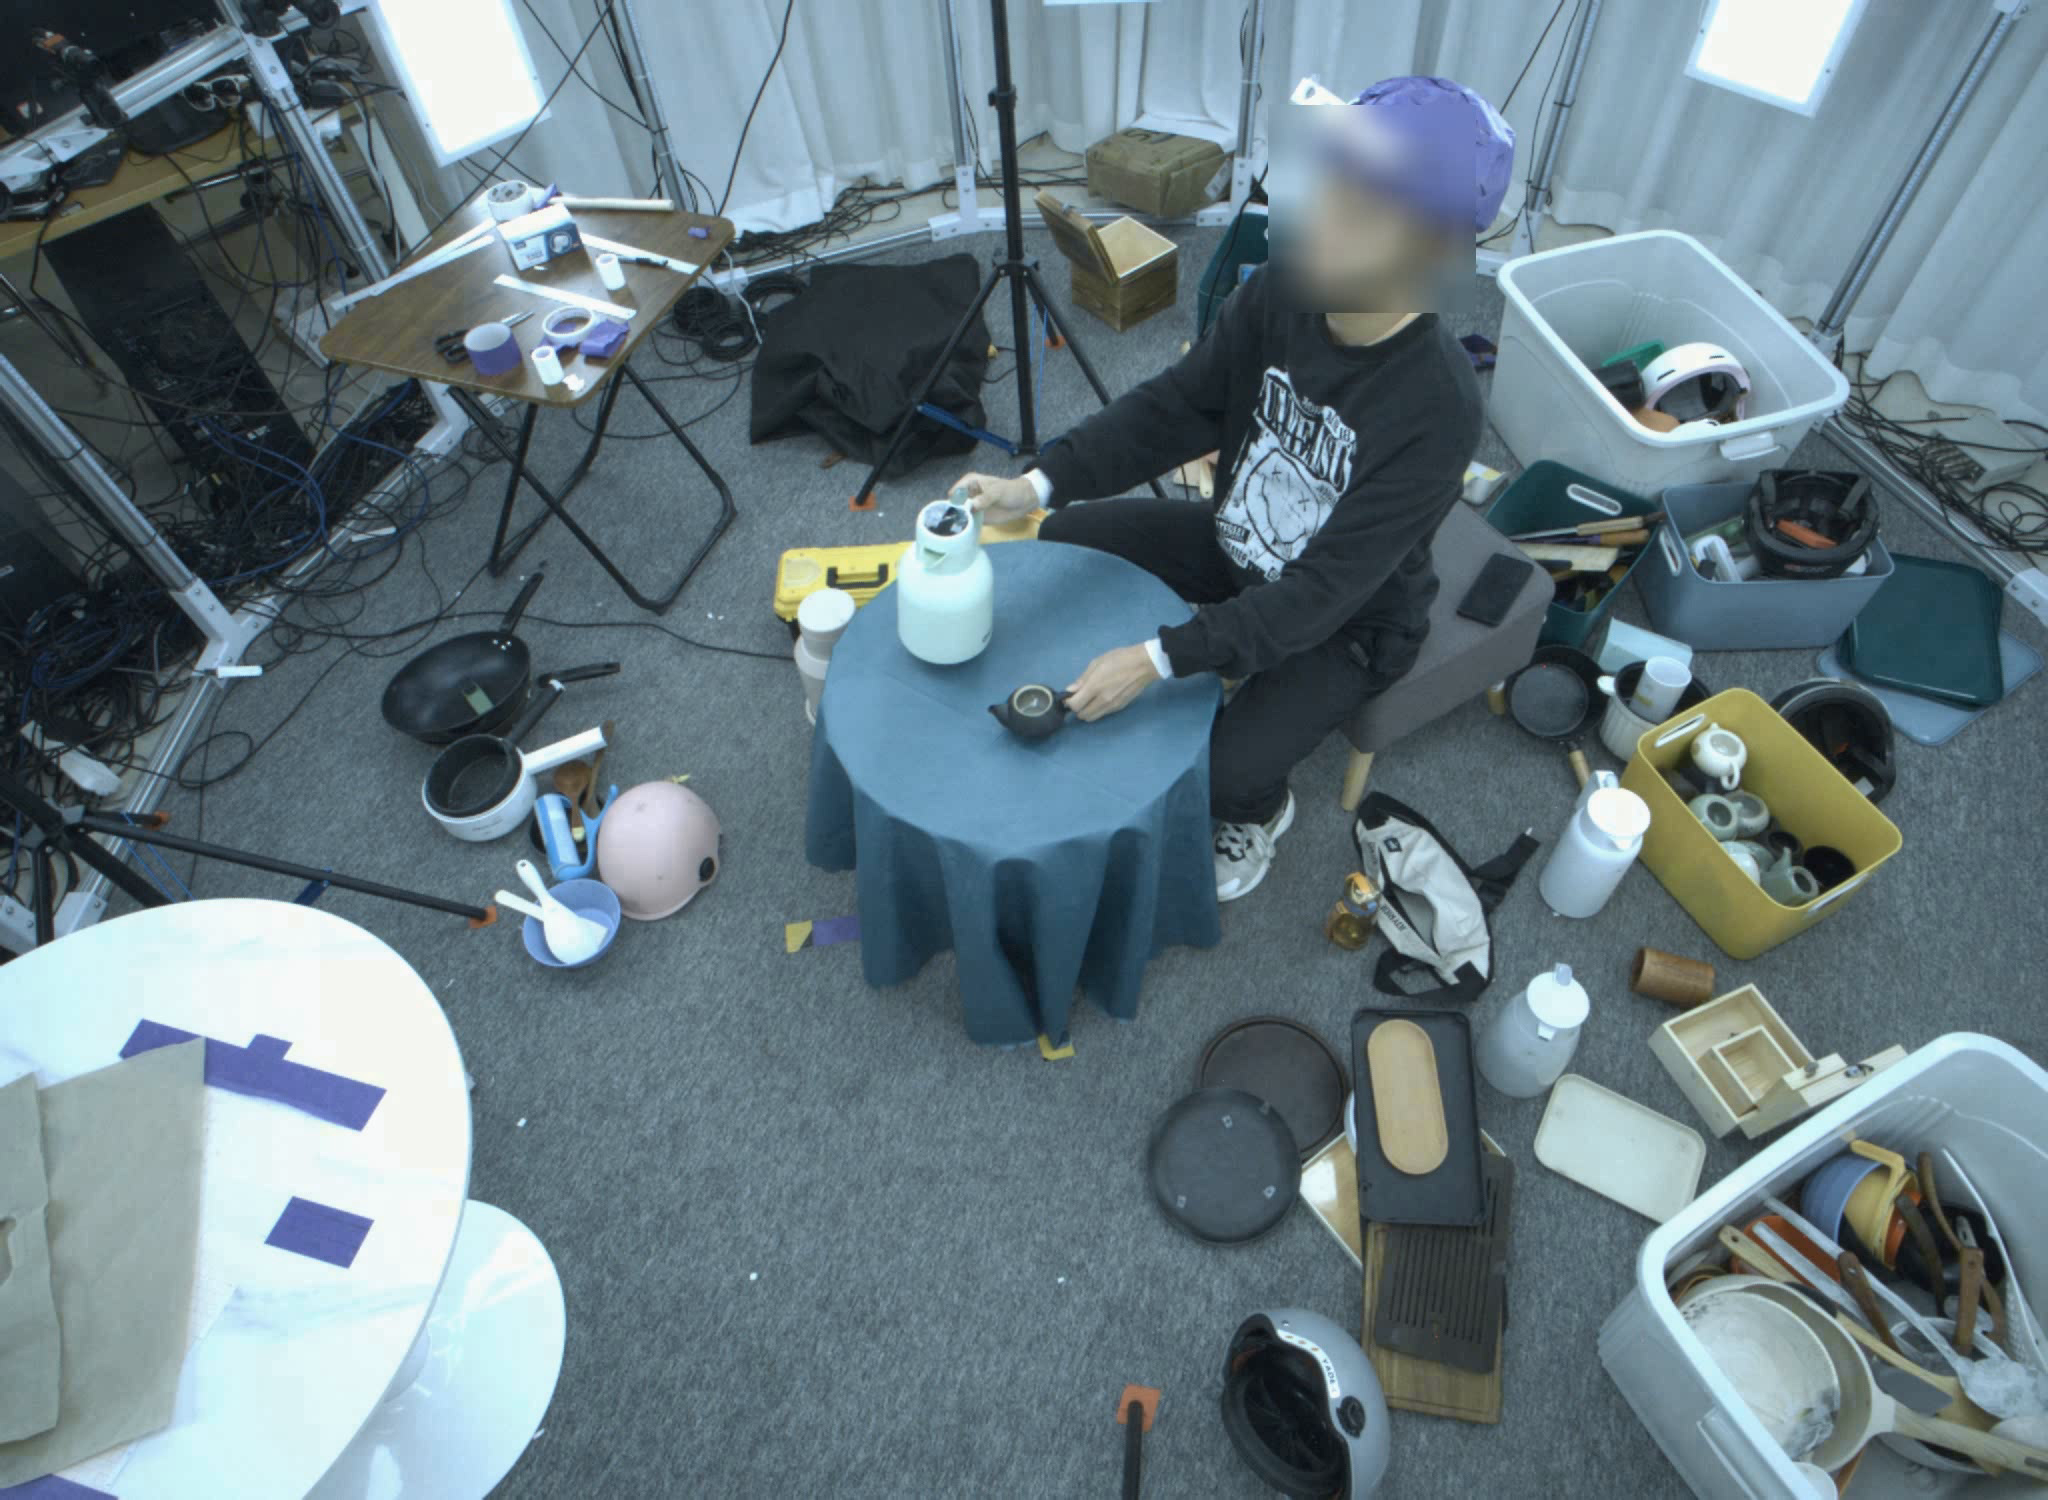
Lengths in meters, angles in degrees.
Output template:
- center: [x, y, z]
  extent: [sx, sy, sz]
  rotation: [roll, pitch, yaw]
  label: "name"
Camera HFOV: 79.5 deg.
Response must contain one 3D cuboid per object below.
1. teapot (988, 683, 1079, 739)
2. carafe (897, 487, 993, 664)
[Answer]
- center: [0.014, -0.058, 1.784]
  extent: [0.133, 0.053, 0.089]
  rotation: [-11, 57, -4]
  label: "teapot"
- center: [-0.110, -0.261, 1.790]
  extent: [0.143, 0.258, 0.186]
  rotation: [18, 55, 9]
  label: "carafe"
